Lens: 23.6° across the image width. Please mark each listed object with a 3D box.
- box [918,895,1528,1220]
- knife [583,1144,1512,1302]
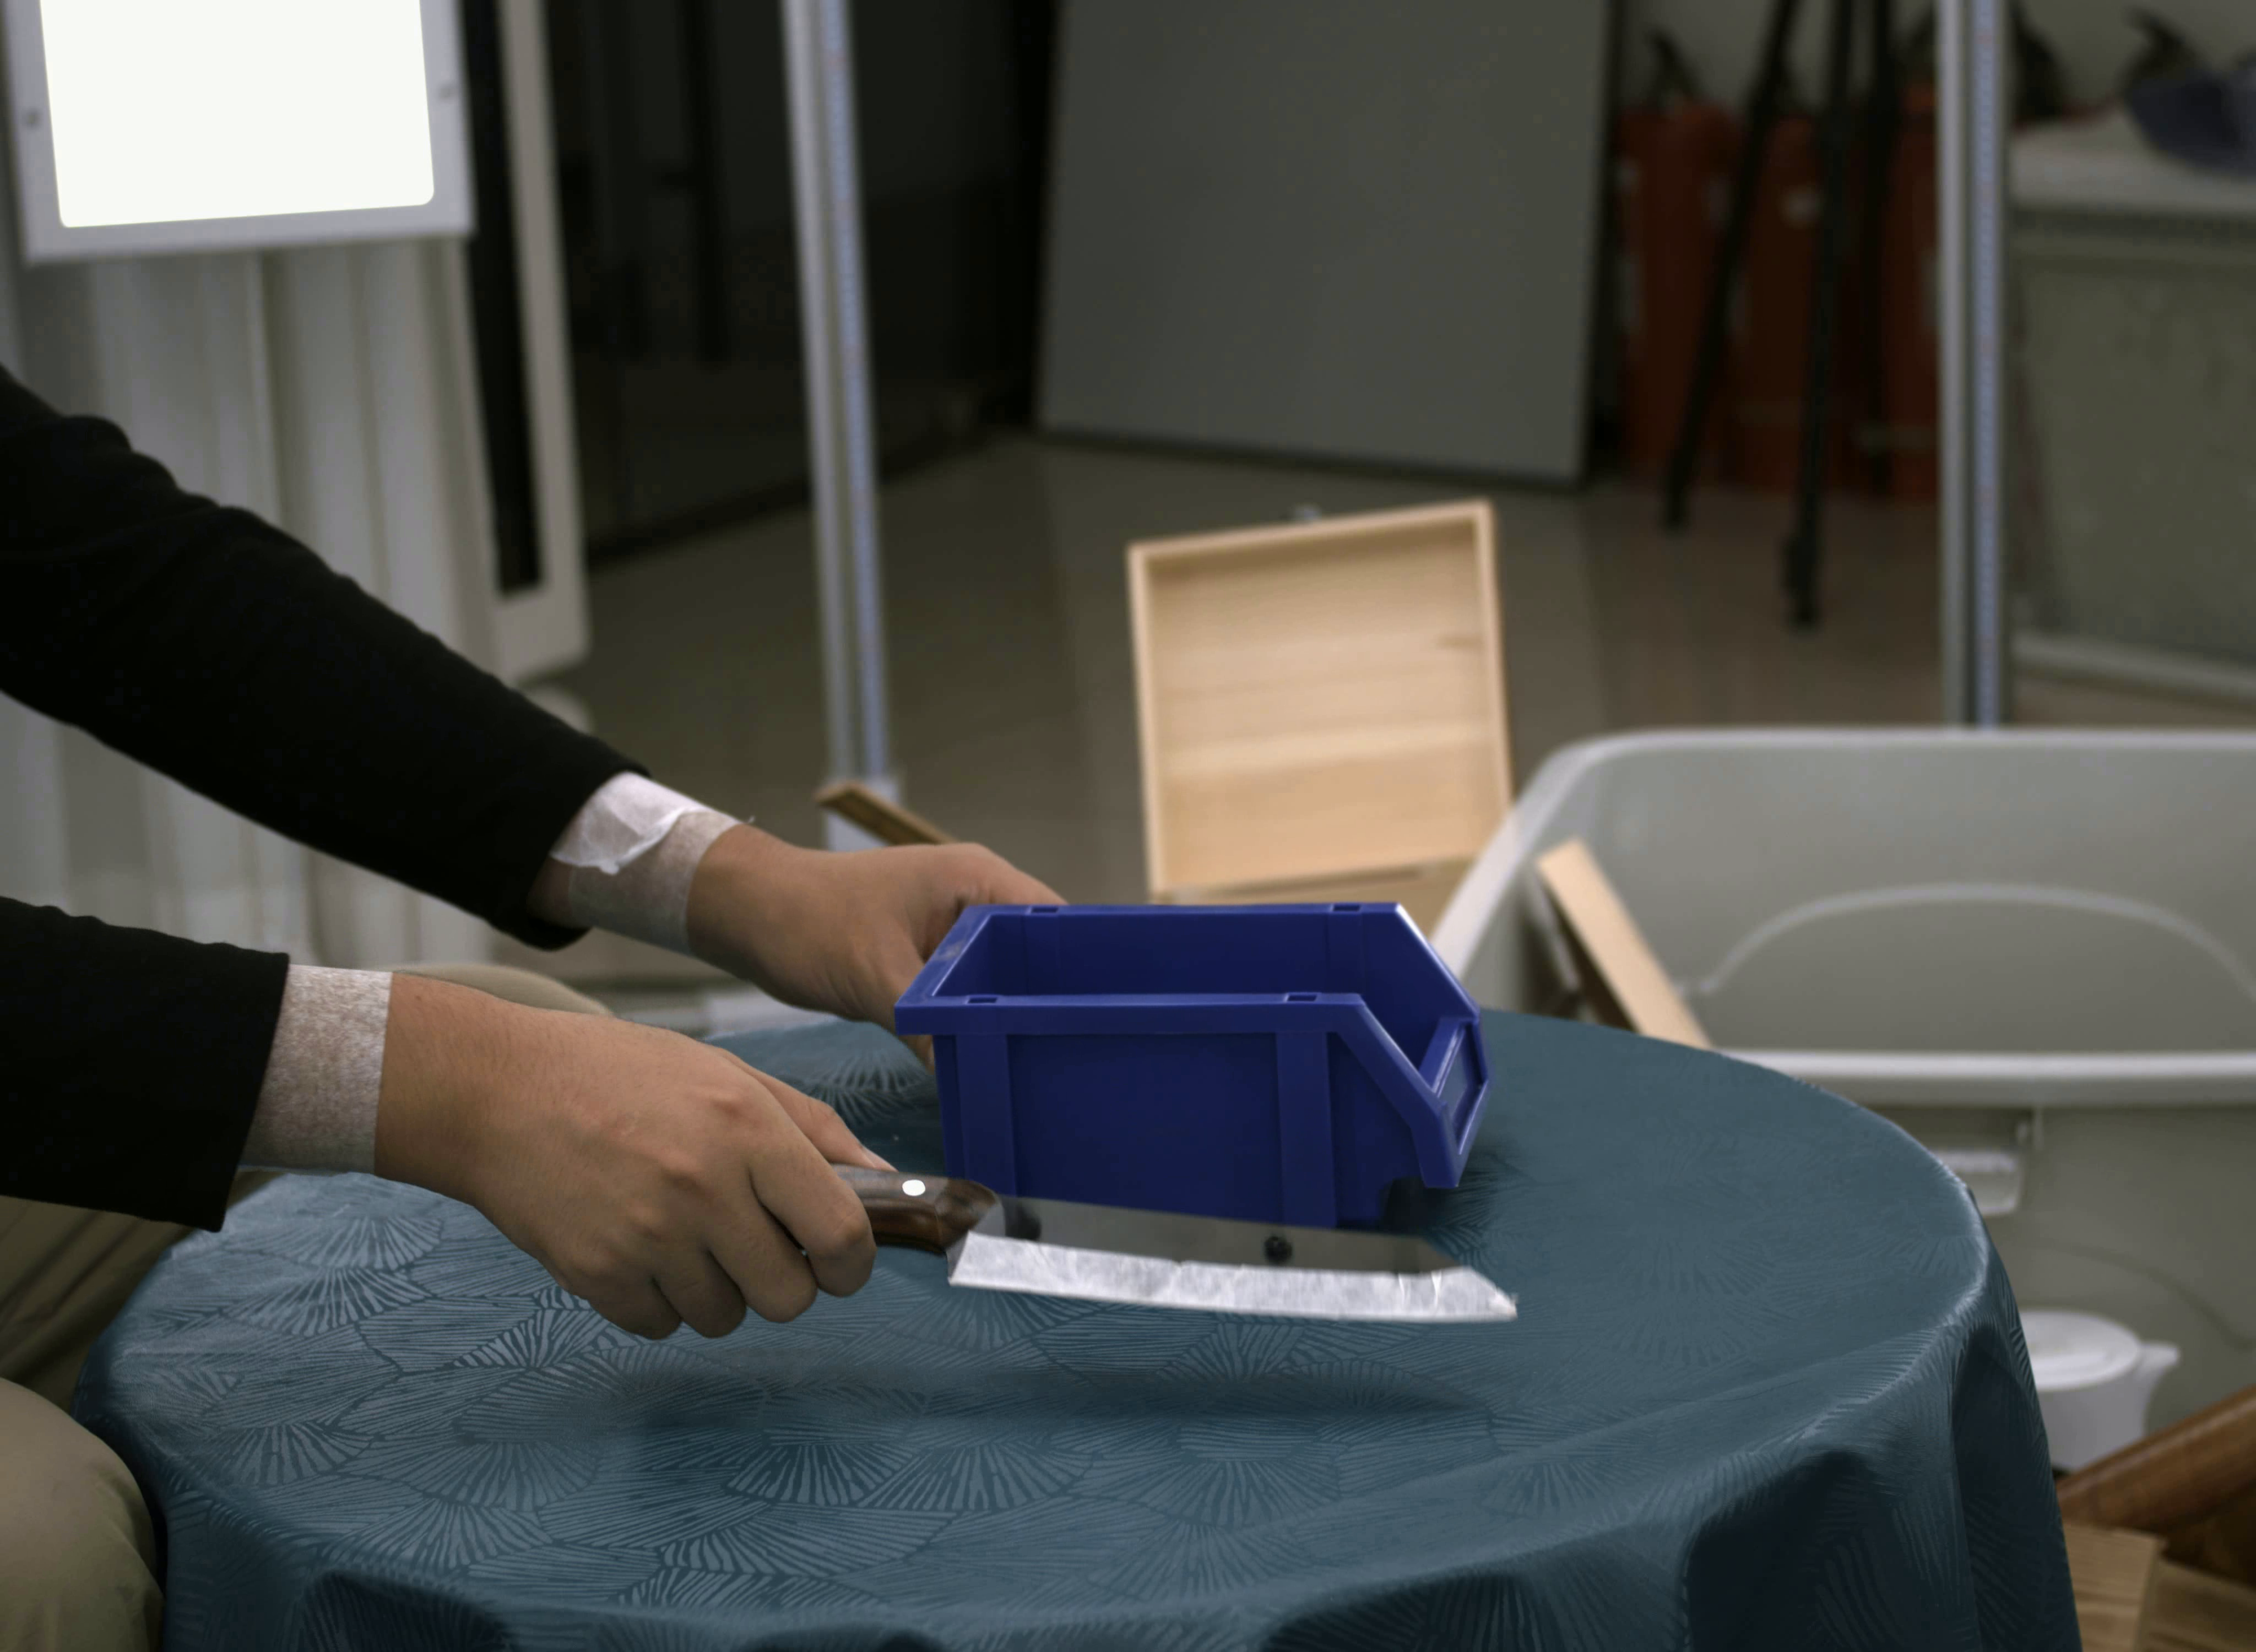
[{"bbox_3d":[0.035,0.078,1.763,0.178,0.083,0.124,-3,13,14],"label":"box"},{"bbox_3d":[-0.027,0.119,1.588,0.288,0.020,0.050,5,34,15],"label":"knife"}]
